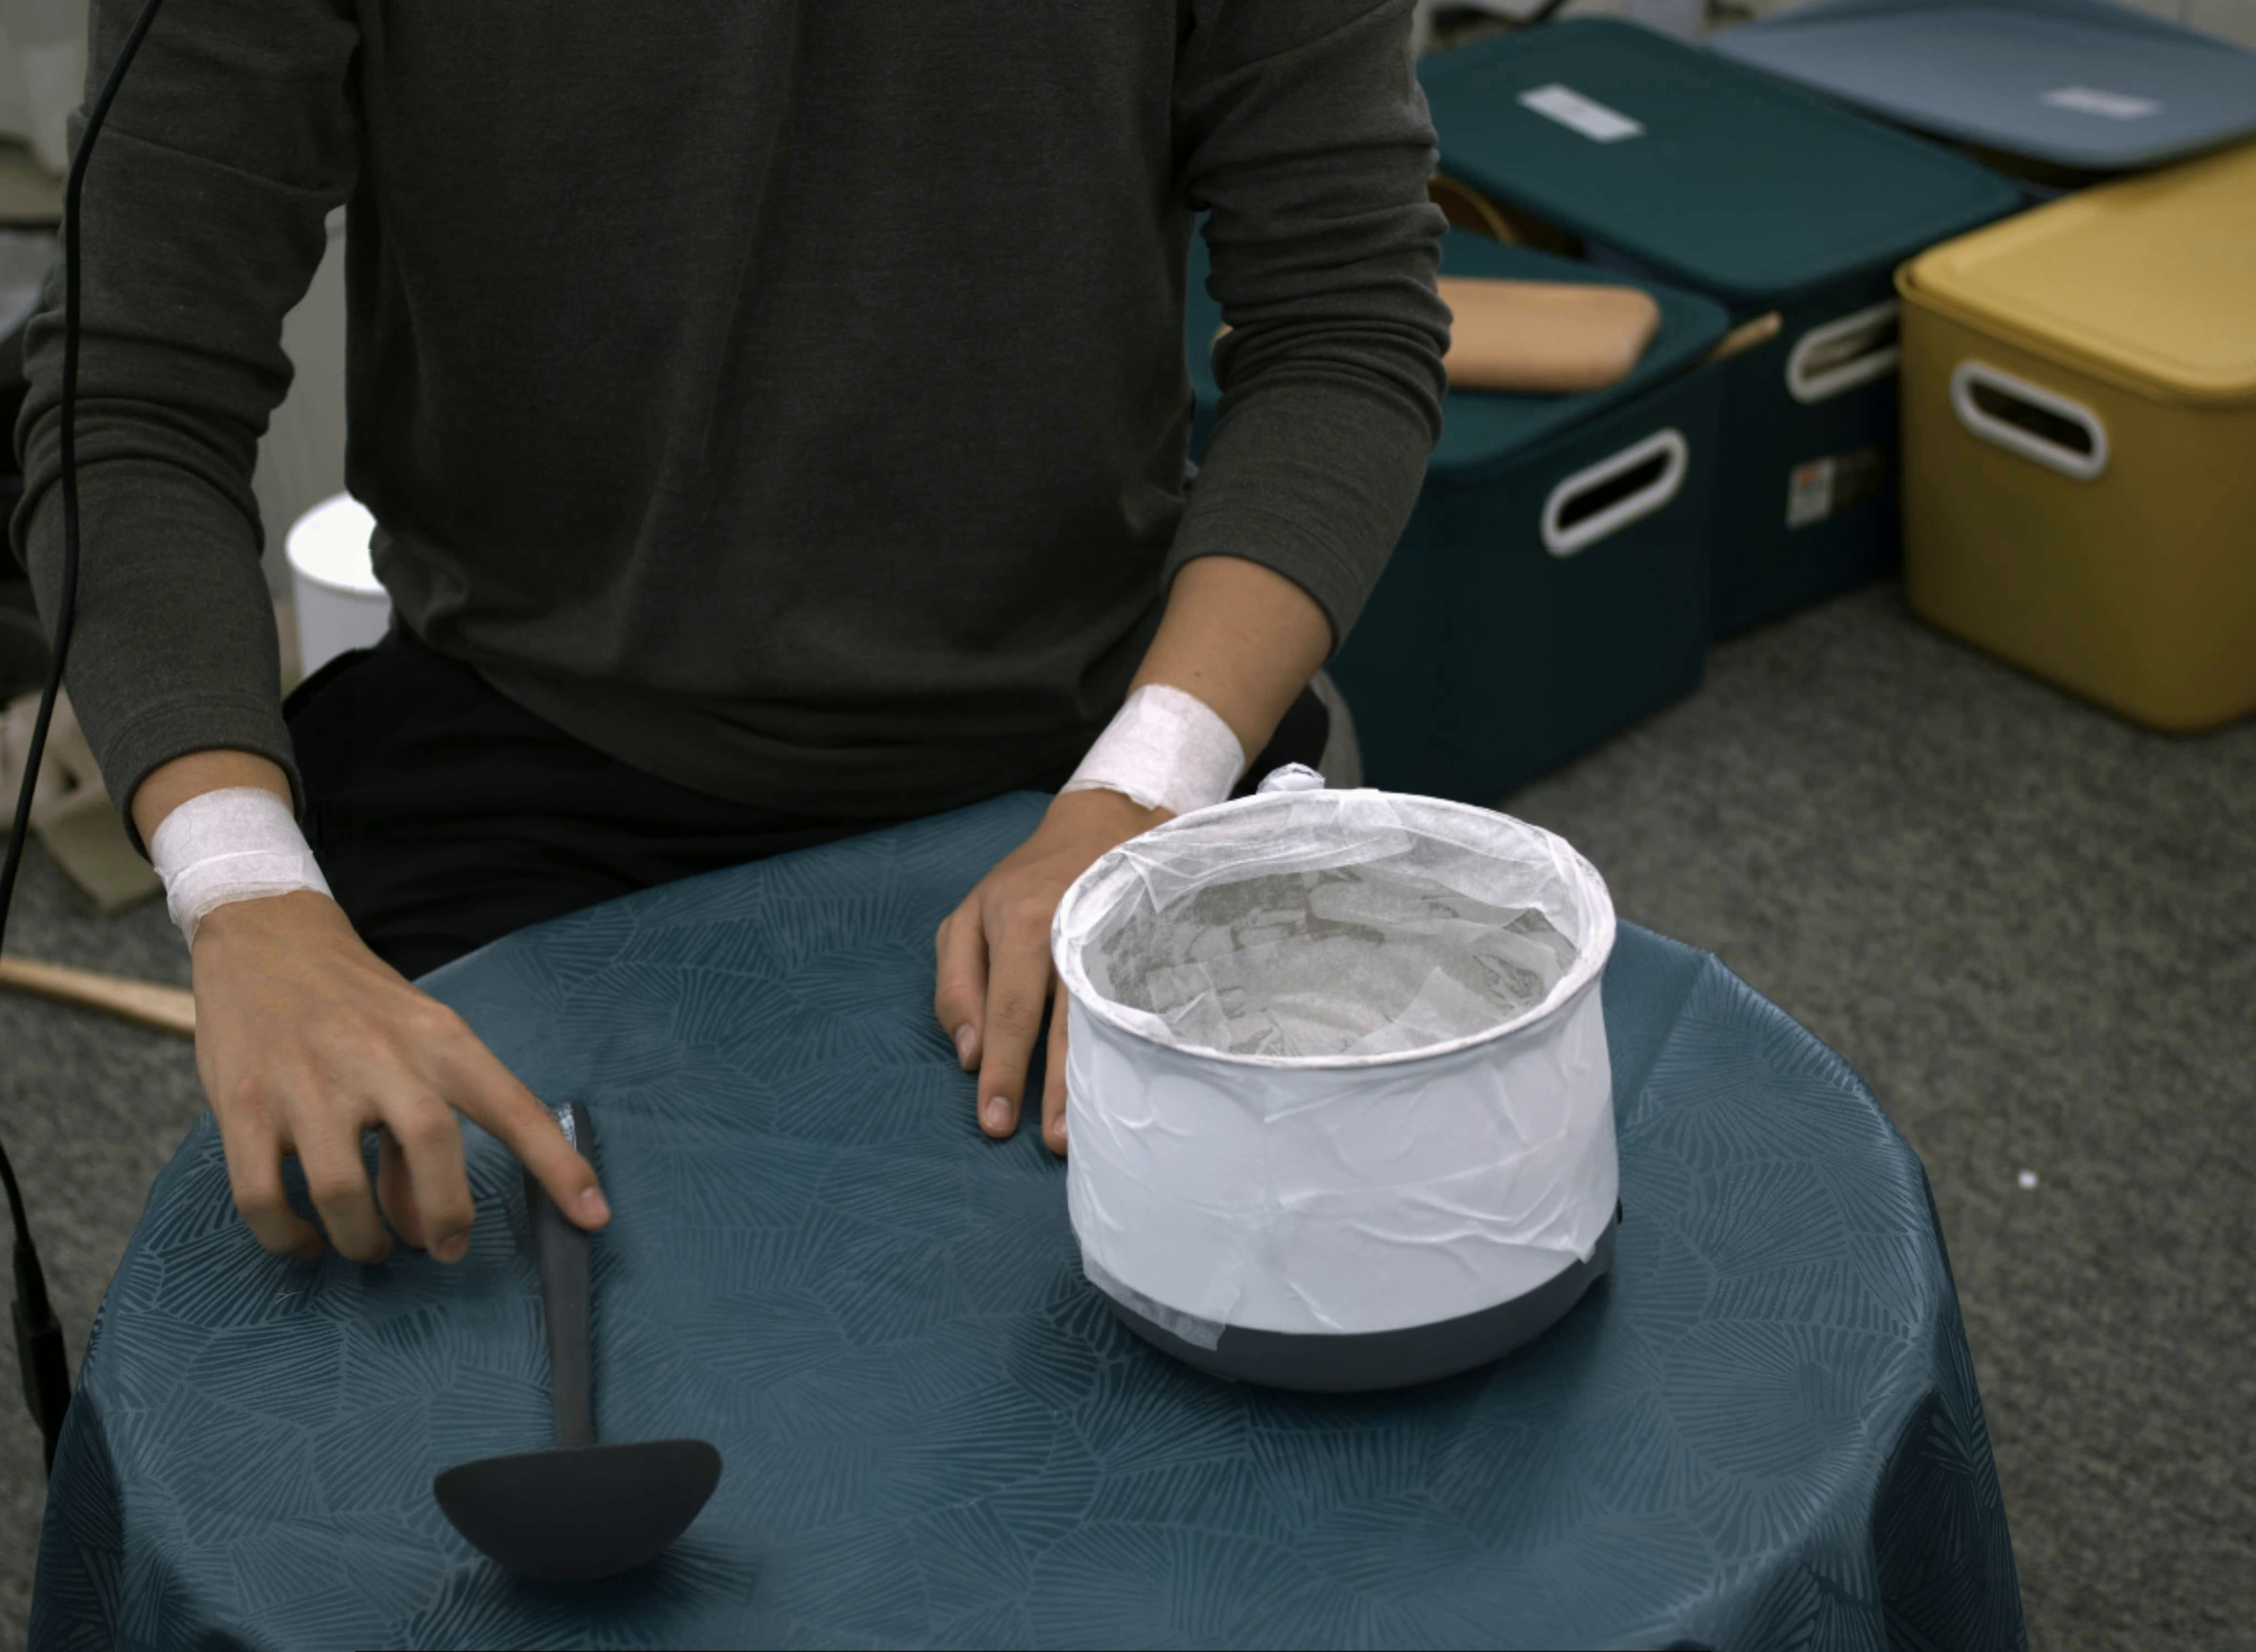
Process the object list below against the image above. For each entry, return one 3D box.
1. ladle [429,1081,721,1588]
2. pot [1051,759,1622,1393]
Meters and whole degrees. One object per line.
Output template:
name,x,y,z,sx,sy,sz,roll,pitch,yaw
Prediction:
ladle,-0.178,0.142,1.771,0.086,0.063,0.318,0,27,-8
pot,0.064,0.072,1.803,0.178,0.135,0.237,-5,27,-5
